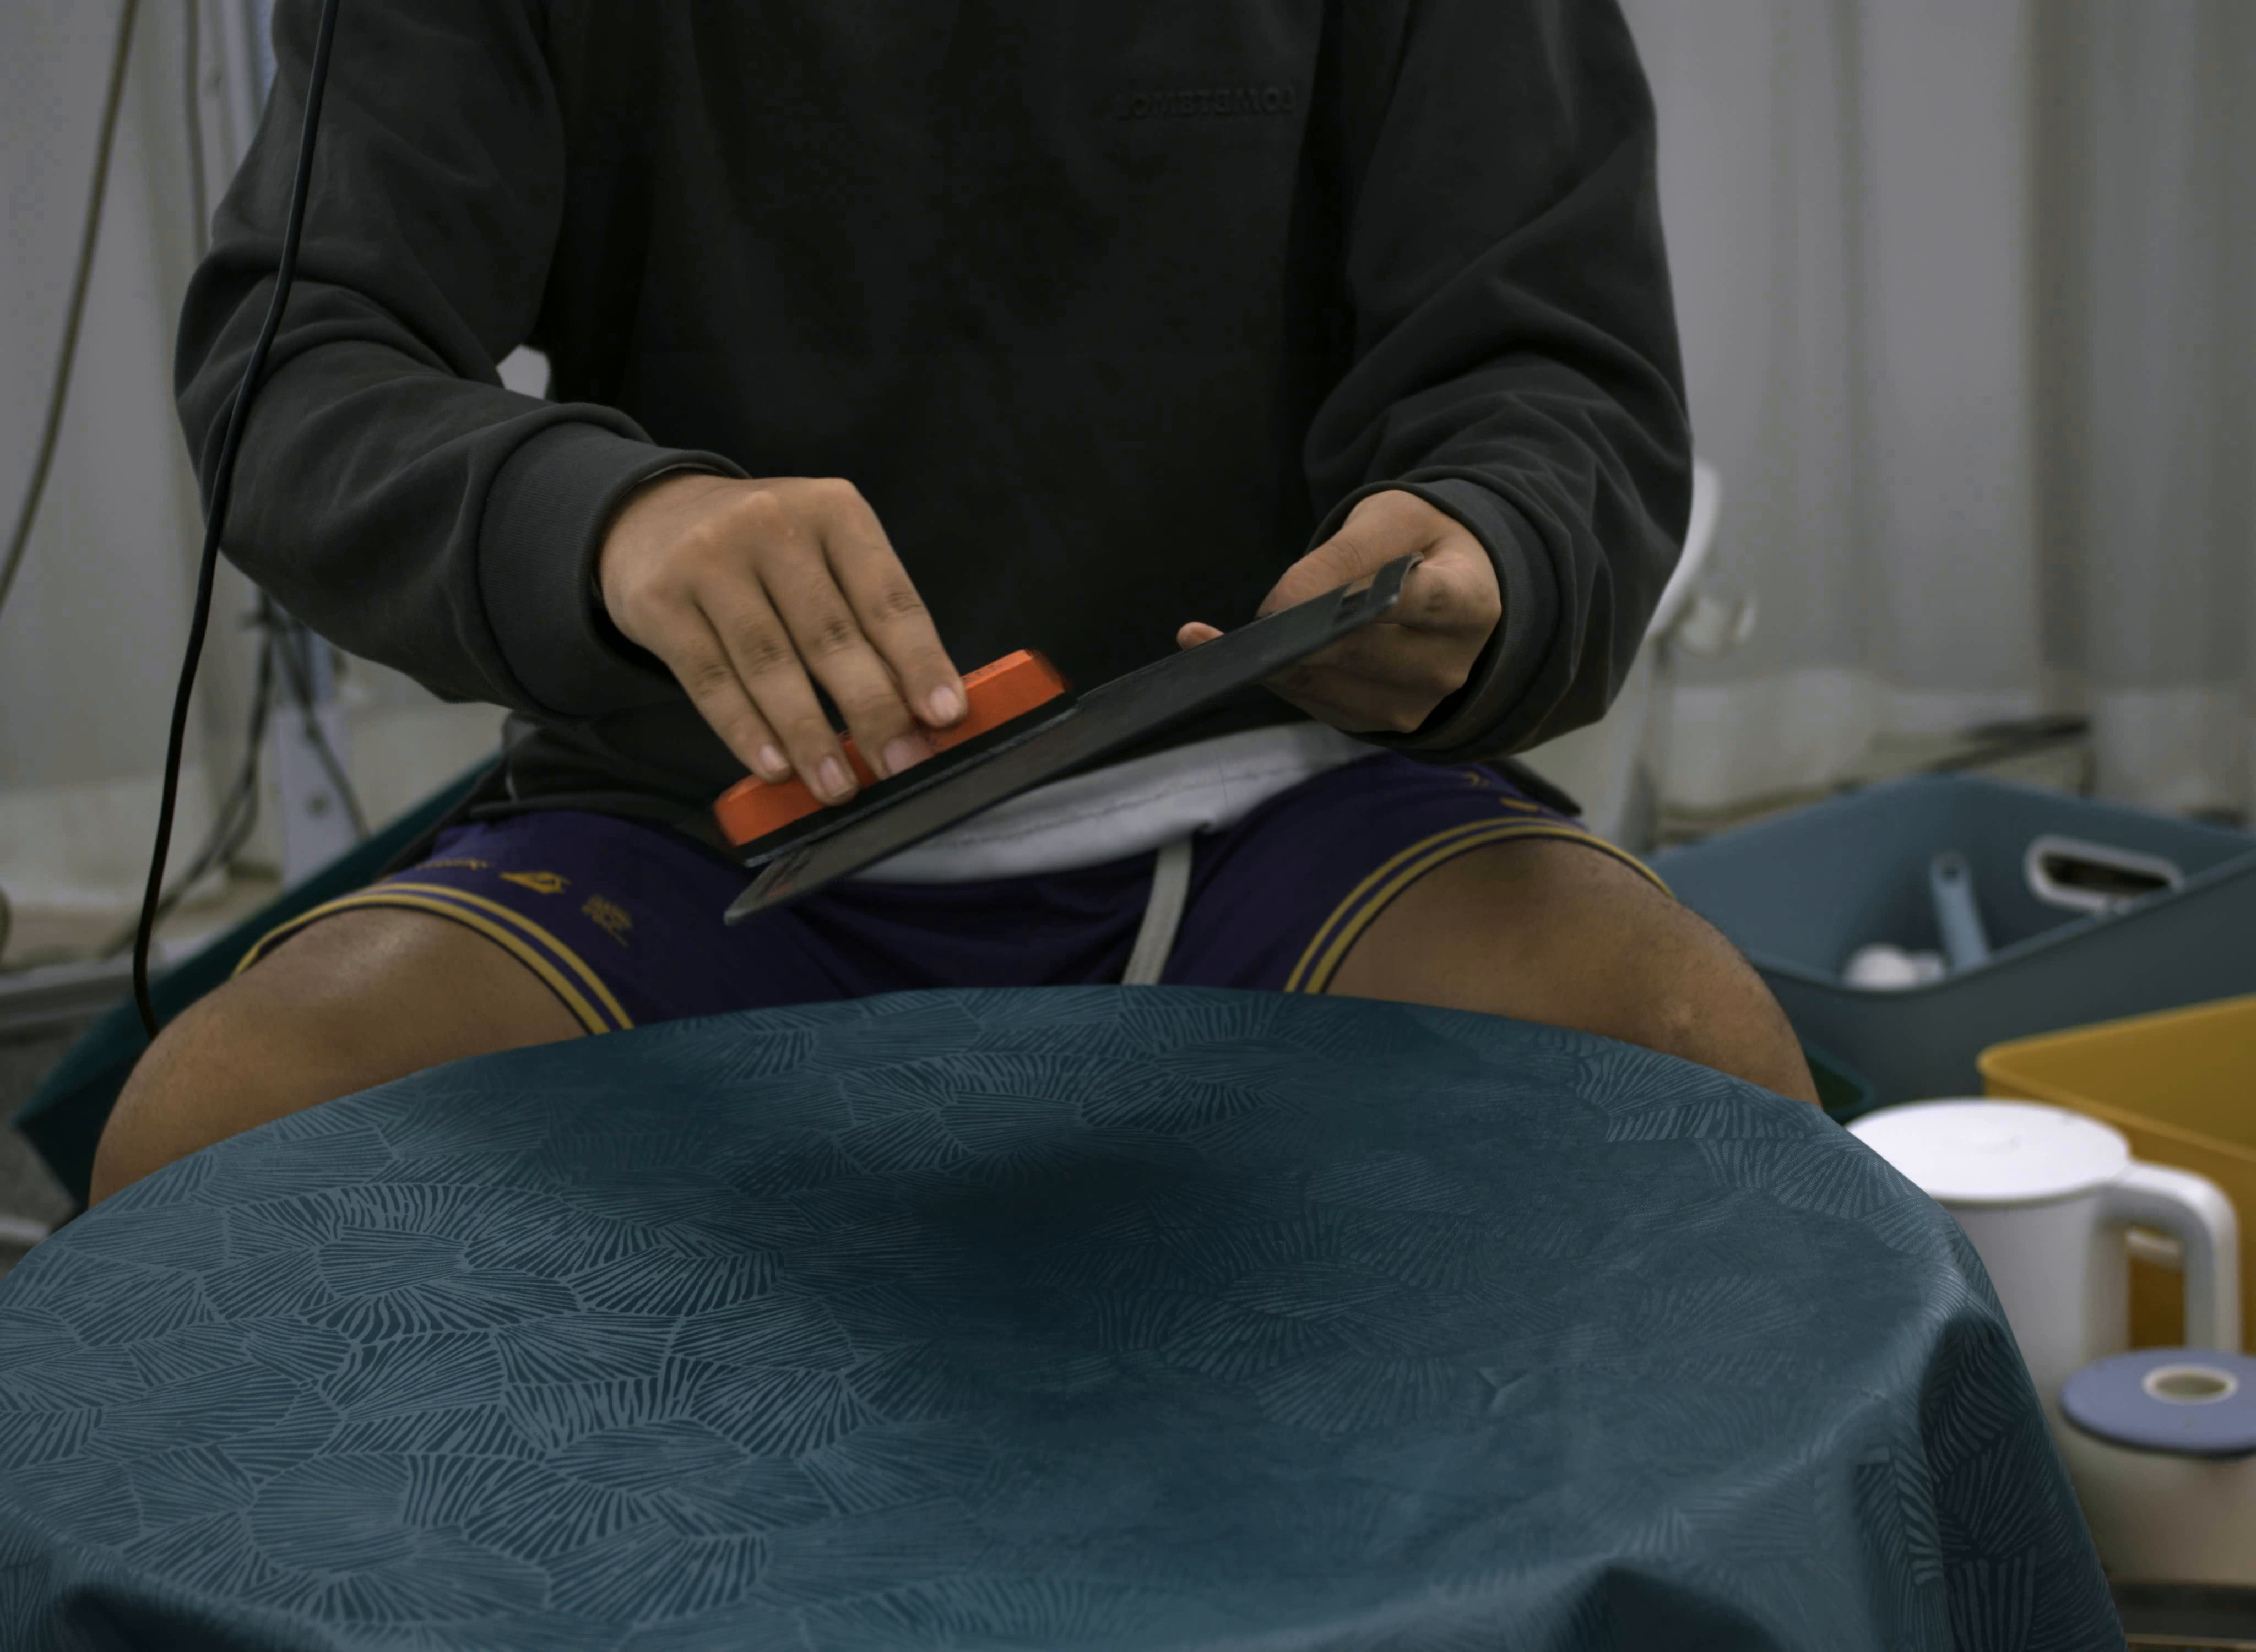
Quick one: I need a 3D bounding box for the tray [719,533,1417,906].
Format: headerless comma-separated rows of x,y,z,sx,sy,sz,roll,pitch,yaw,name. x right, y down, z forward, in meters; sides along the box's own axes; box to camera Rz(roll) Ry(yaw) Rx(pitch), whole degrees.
-0.012,-0.036,1.637,0.210,0.010,0.326,-25,4,7,tray

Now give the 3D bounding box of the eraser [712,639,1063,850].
-0.073,-0.025,1.665,0.108,0.023,0.059,-24,5,0,eraser
